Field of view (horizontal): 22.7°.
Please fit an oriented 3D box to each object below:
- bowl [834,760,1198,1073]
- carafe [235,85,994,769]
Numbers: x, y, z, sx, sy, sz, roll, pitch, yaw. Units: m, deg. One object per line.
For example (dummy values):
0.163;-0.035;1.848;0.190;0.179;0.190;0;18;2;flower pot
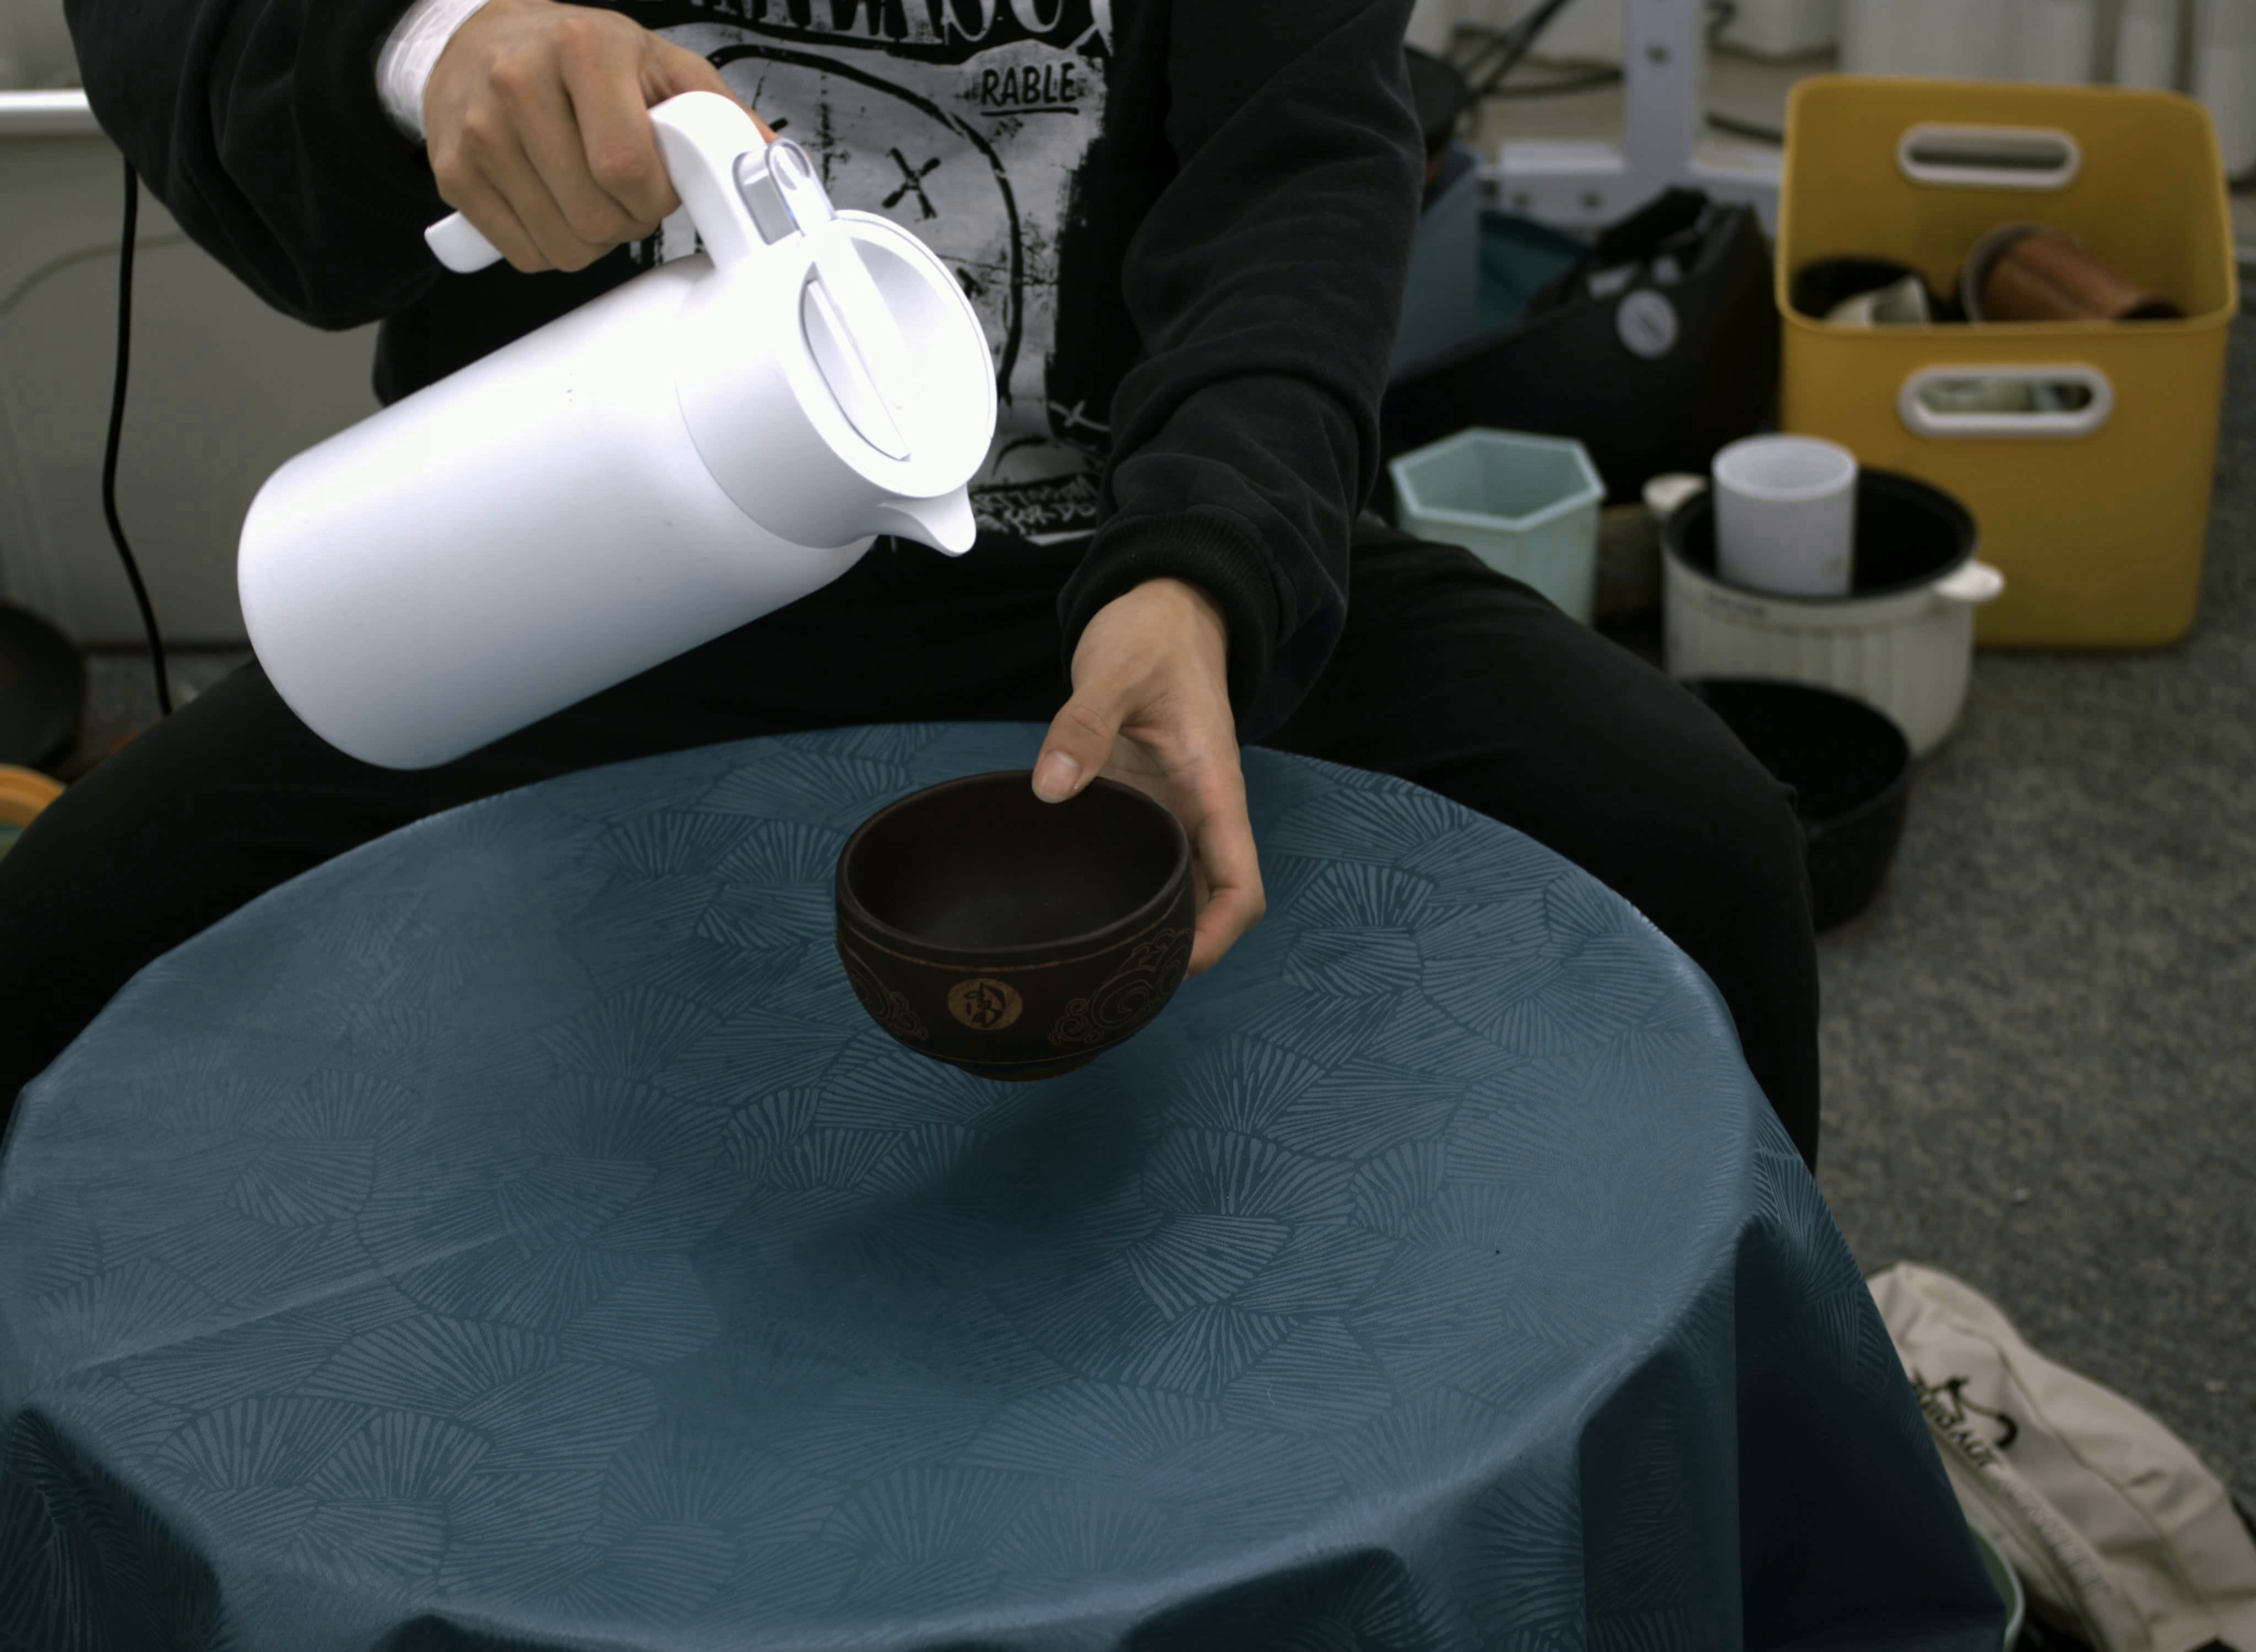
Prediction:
-0.035;0.036;1.822;0.117;0.069;0.120;-3;29;2;bowl
-0.179;-0.127;1.854;0.265;0.173;0.126;-23;8;40;carafe
